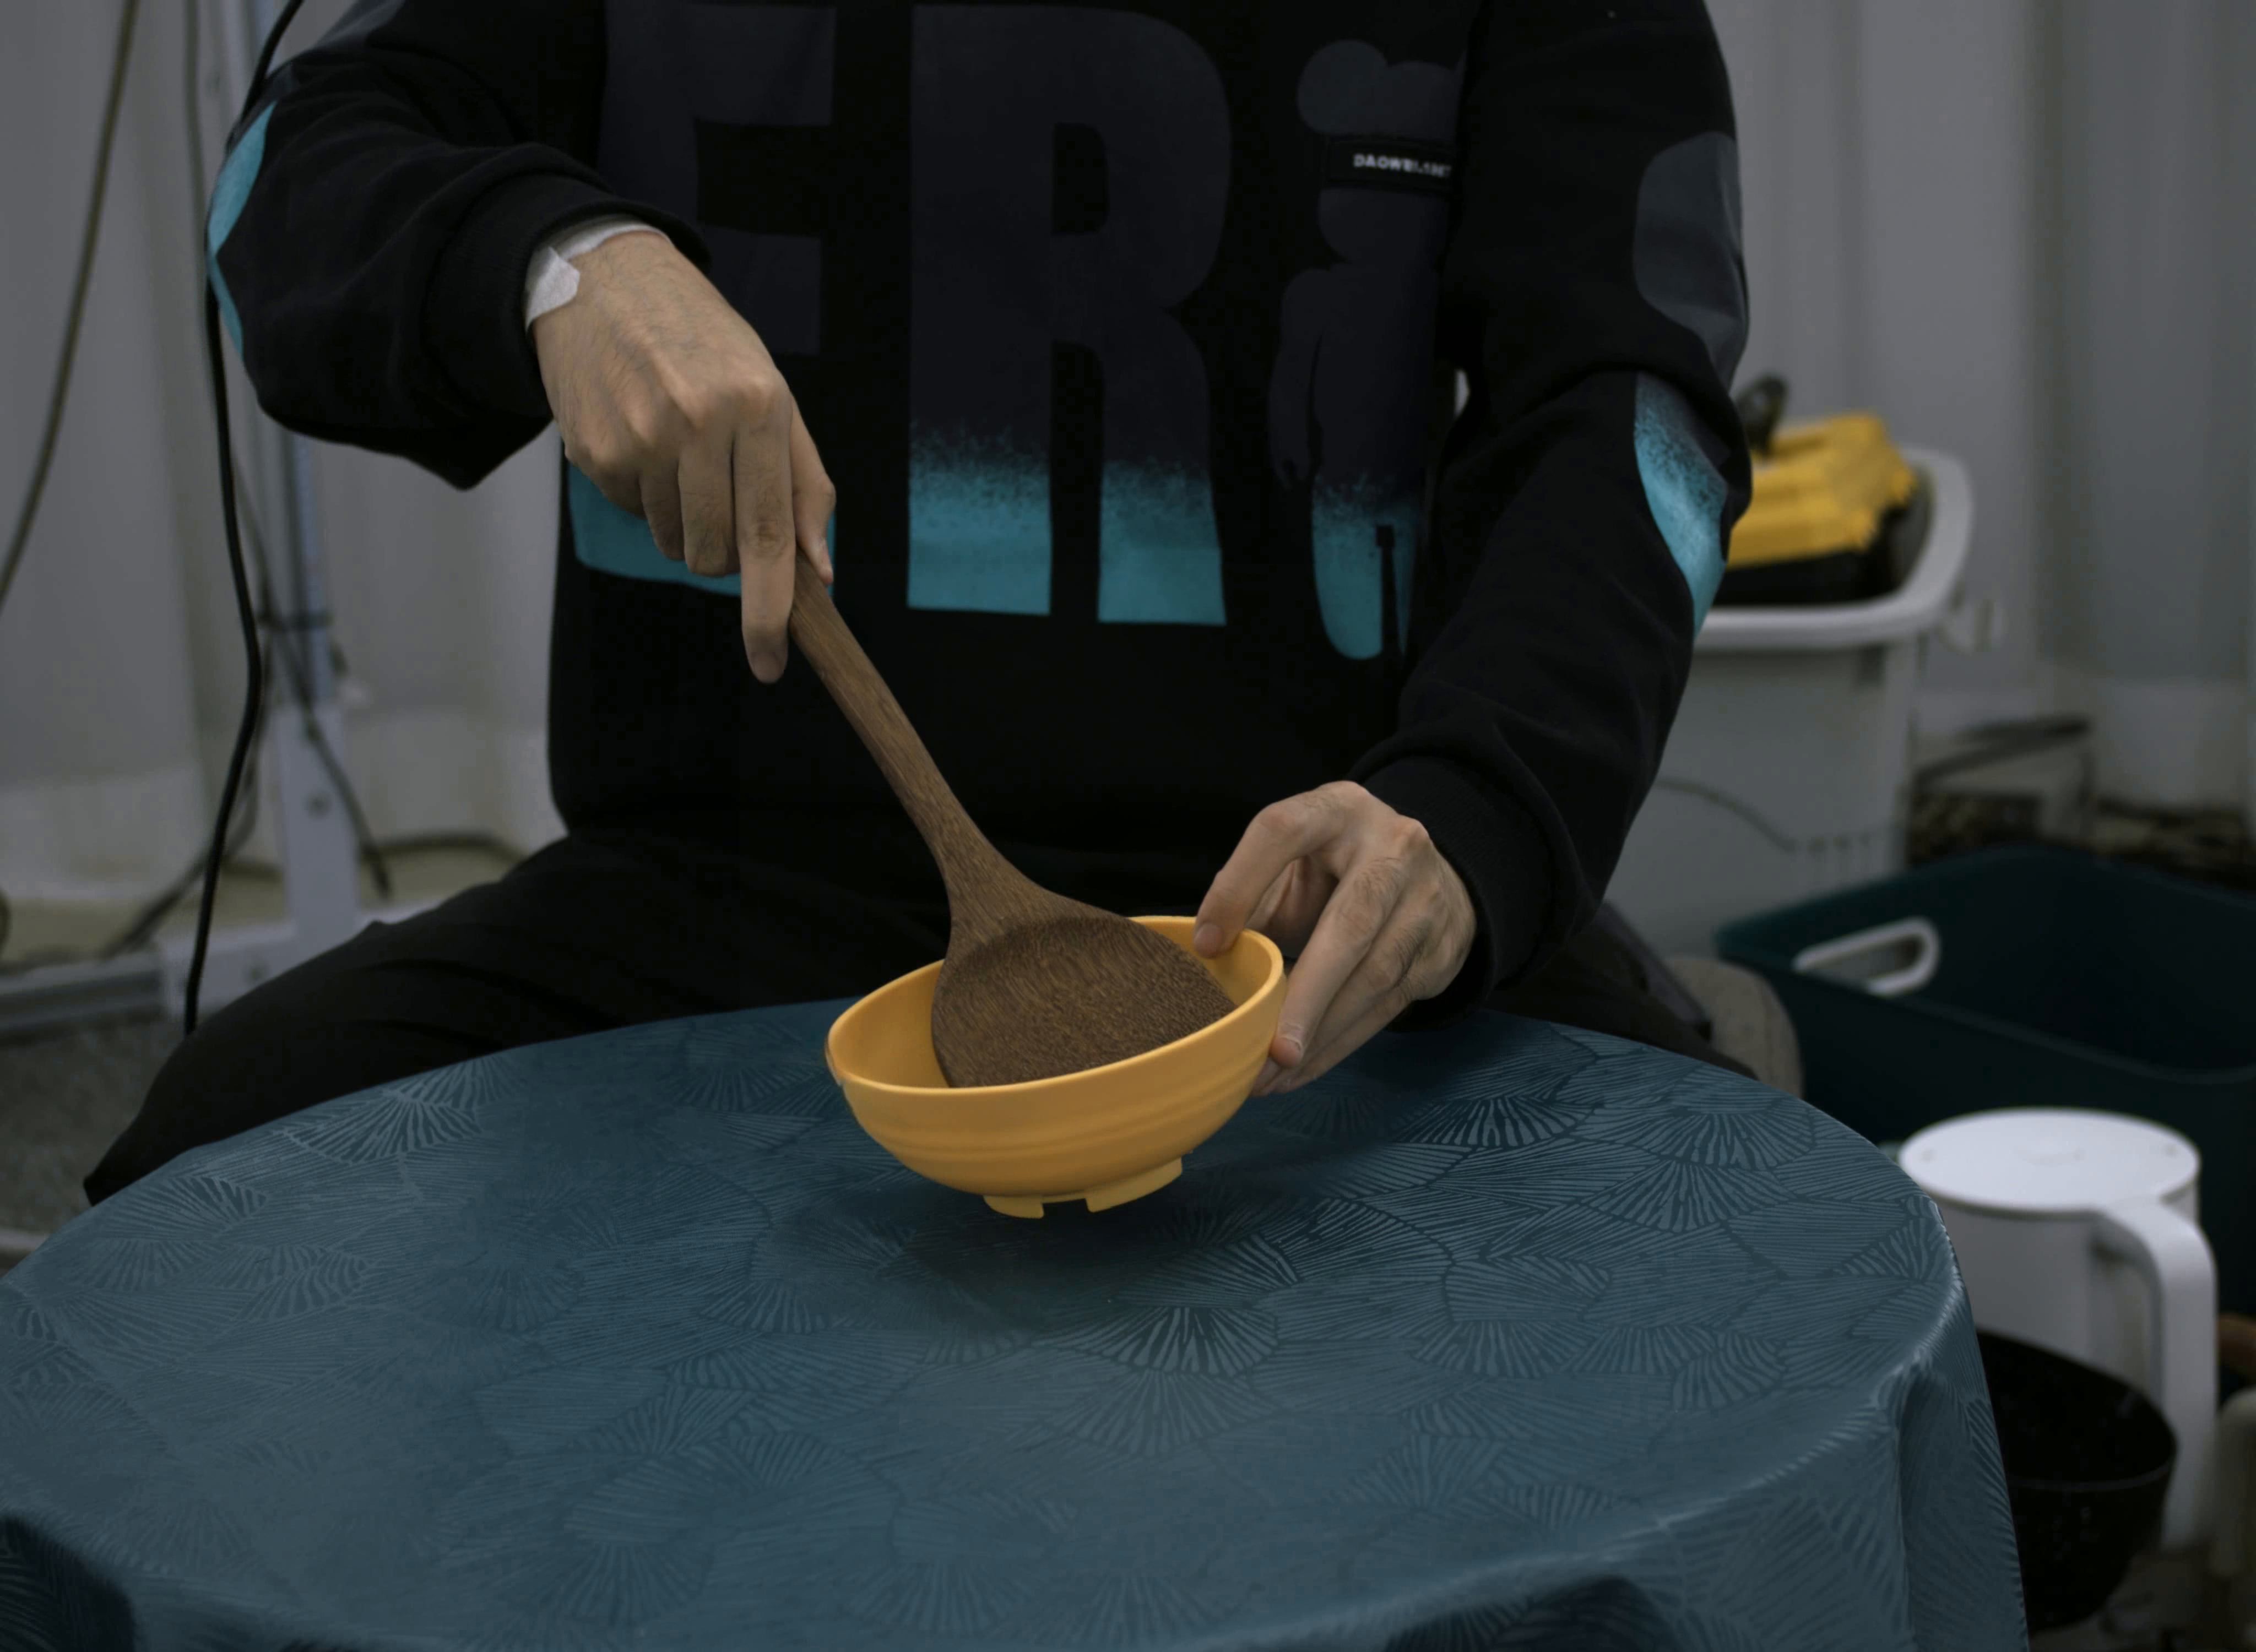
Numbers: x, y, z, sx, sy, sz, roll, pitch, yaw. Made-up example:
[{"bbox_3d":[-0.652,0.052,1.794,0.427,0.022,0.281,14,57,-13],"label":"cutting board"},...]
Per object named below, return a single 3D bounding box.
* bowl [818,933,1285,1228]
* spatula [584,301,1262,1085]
[{"bbox_3d":[-0.019,0.084,1.680,0.145,0.060,0.146,-8,15,2],"label":"bowl"},{"bbox_3d":[-0.085,-0.041,1.760,0.096,0.015,0.391,-21,56,-21],"label":"spatula"}]
